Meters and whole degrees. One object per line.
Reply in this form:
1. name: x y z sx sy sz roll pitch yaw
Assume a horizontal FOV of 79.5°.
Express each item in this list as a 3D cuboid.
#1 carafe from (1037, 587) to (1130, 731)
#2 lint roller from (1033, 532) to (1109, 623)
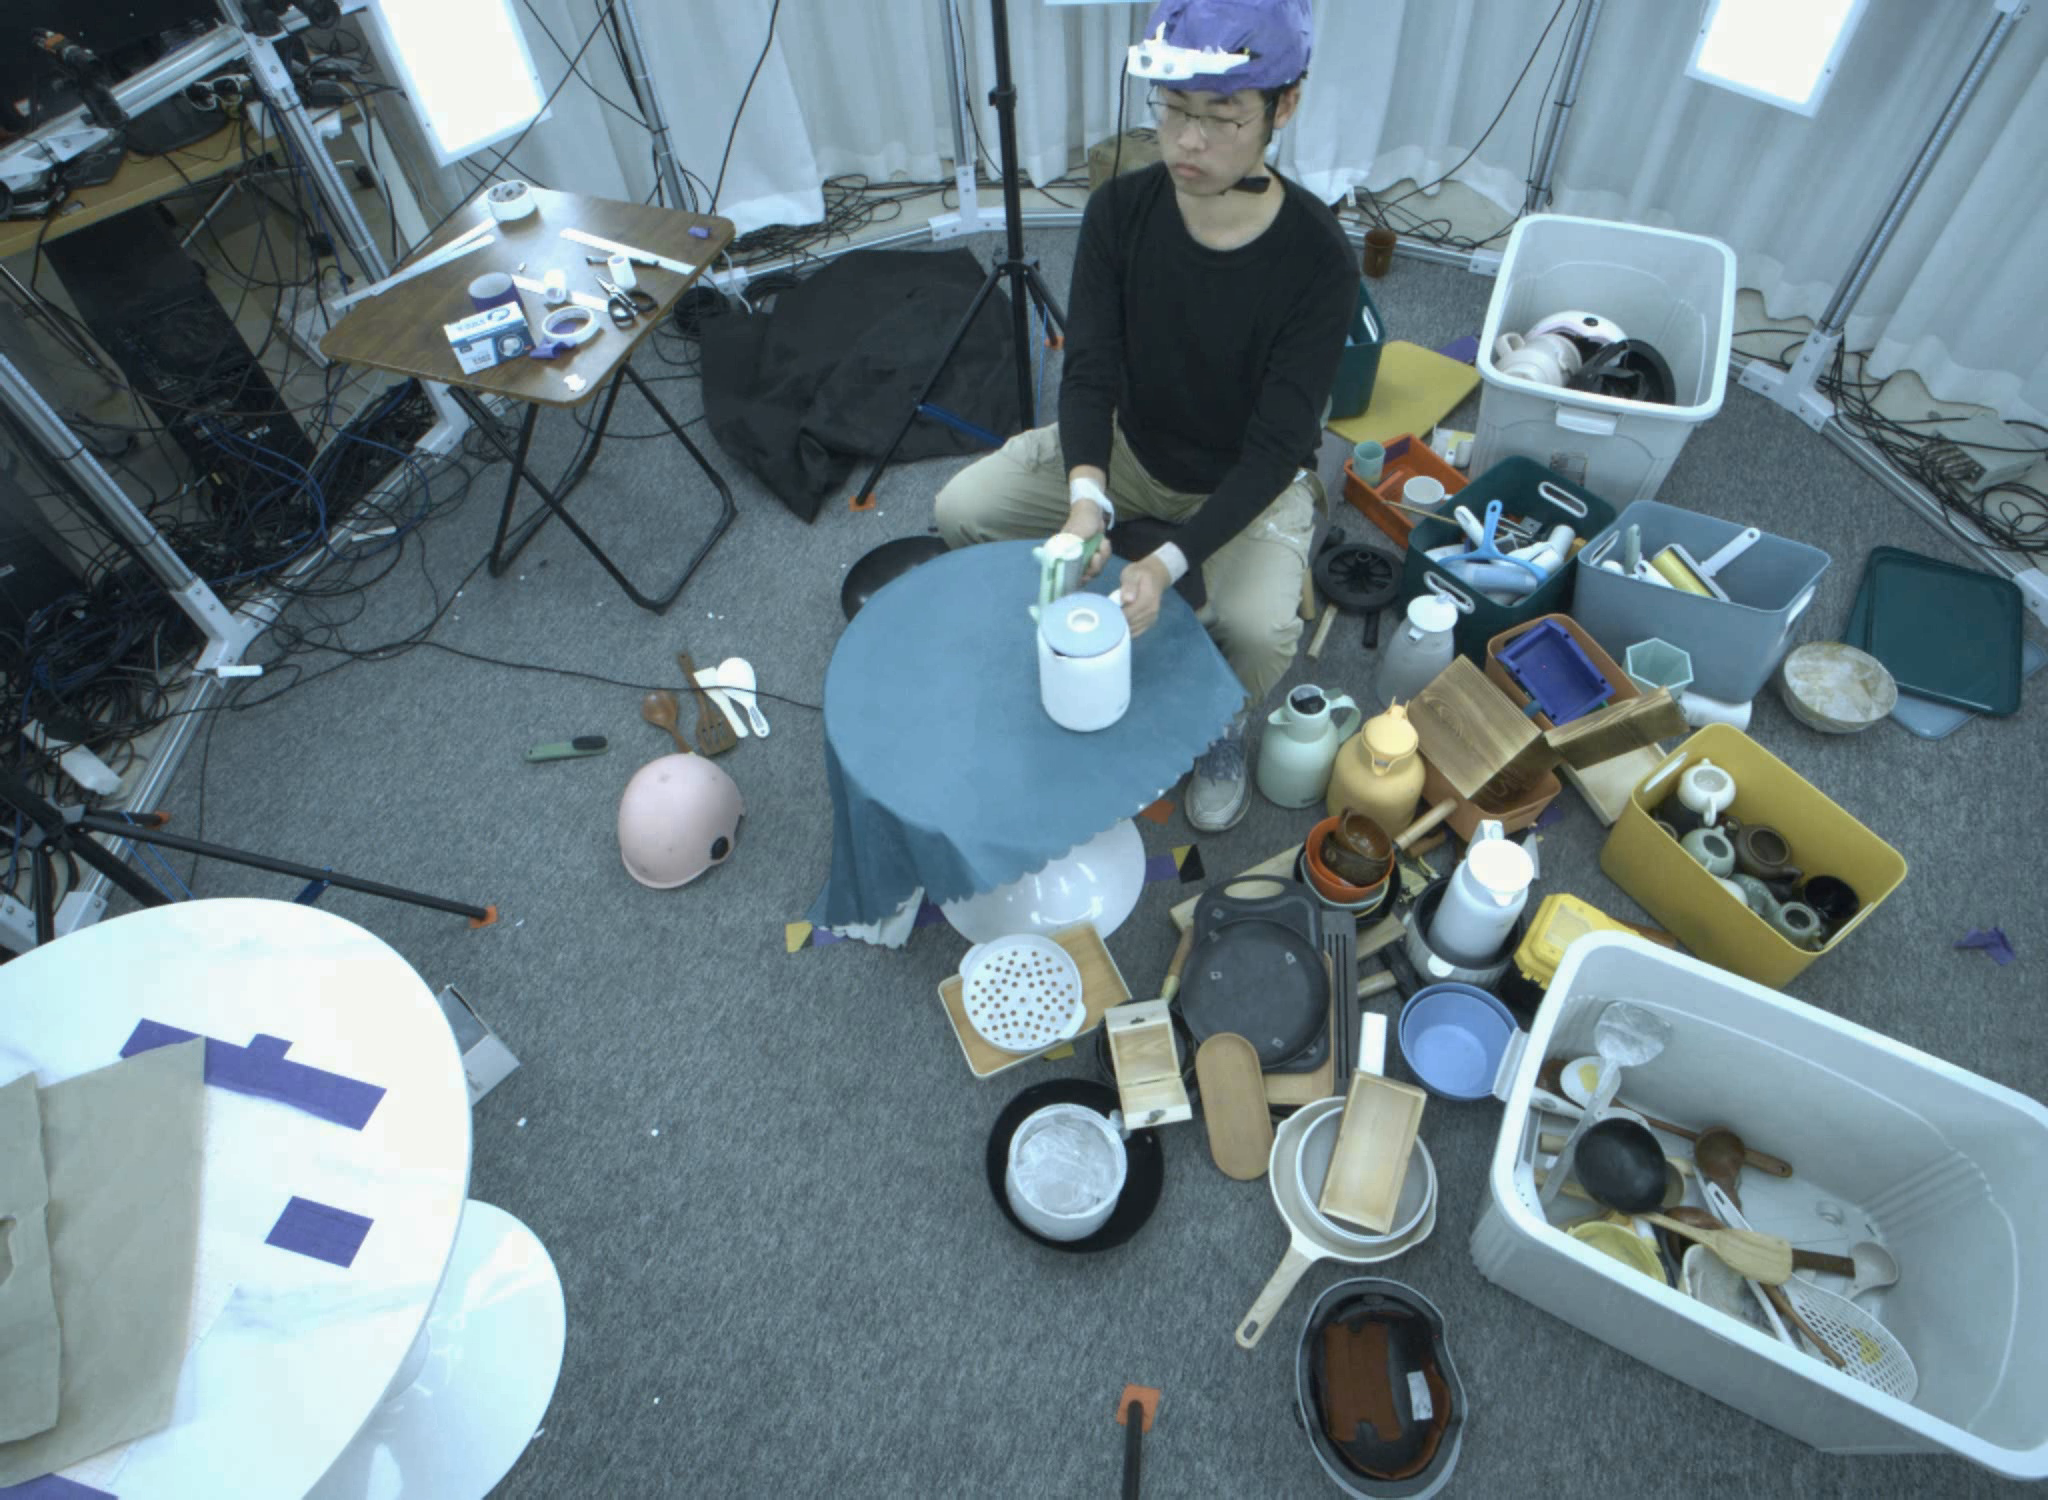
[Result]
1. carafe: 0.100 -0.143 1.780 0.130 0.184 0.192 27 58 20
2. lint roller: 0.065 -0.269 1.825 0.082 0.200 0.183 15 53 9
